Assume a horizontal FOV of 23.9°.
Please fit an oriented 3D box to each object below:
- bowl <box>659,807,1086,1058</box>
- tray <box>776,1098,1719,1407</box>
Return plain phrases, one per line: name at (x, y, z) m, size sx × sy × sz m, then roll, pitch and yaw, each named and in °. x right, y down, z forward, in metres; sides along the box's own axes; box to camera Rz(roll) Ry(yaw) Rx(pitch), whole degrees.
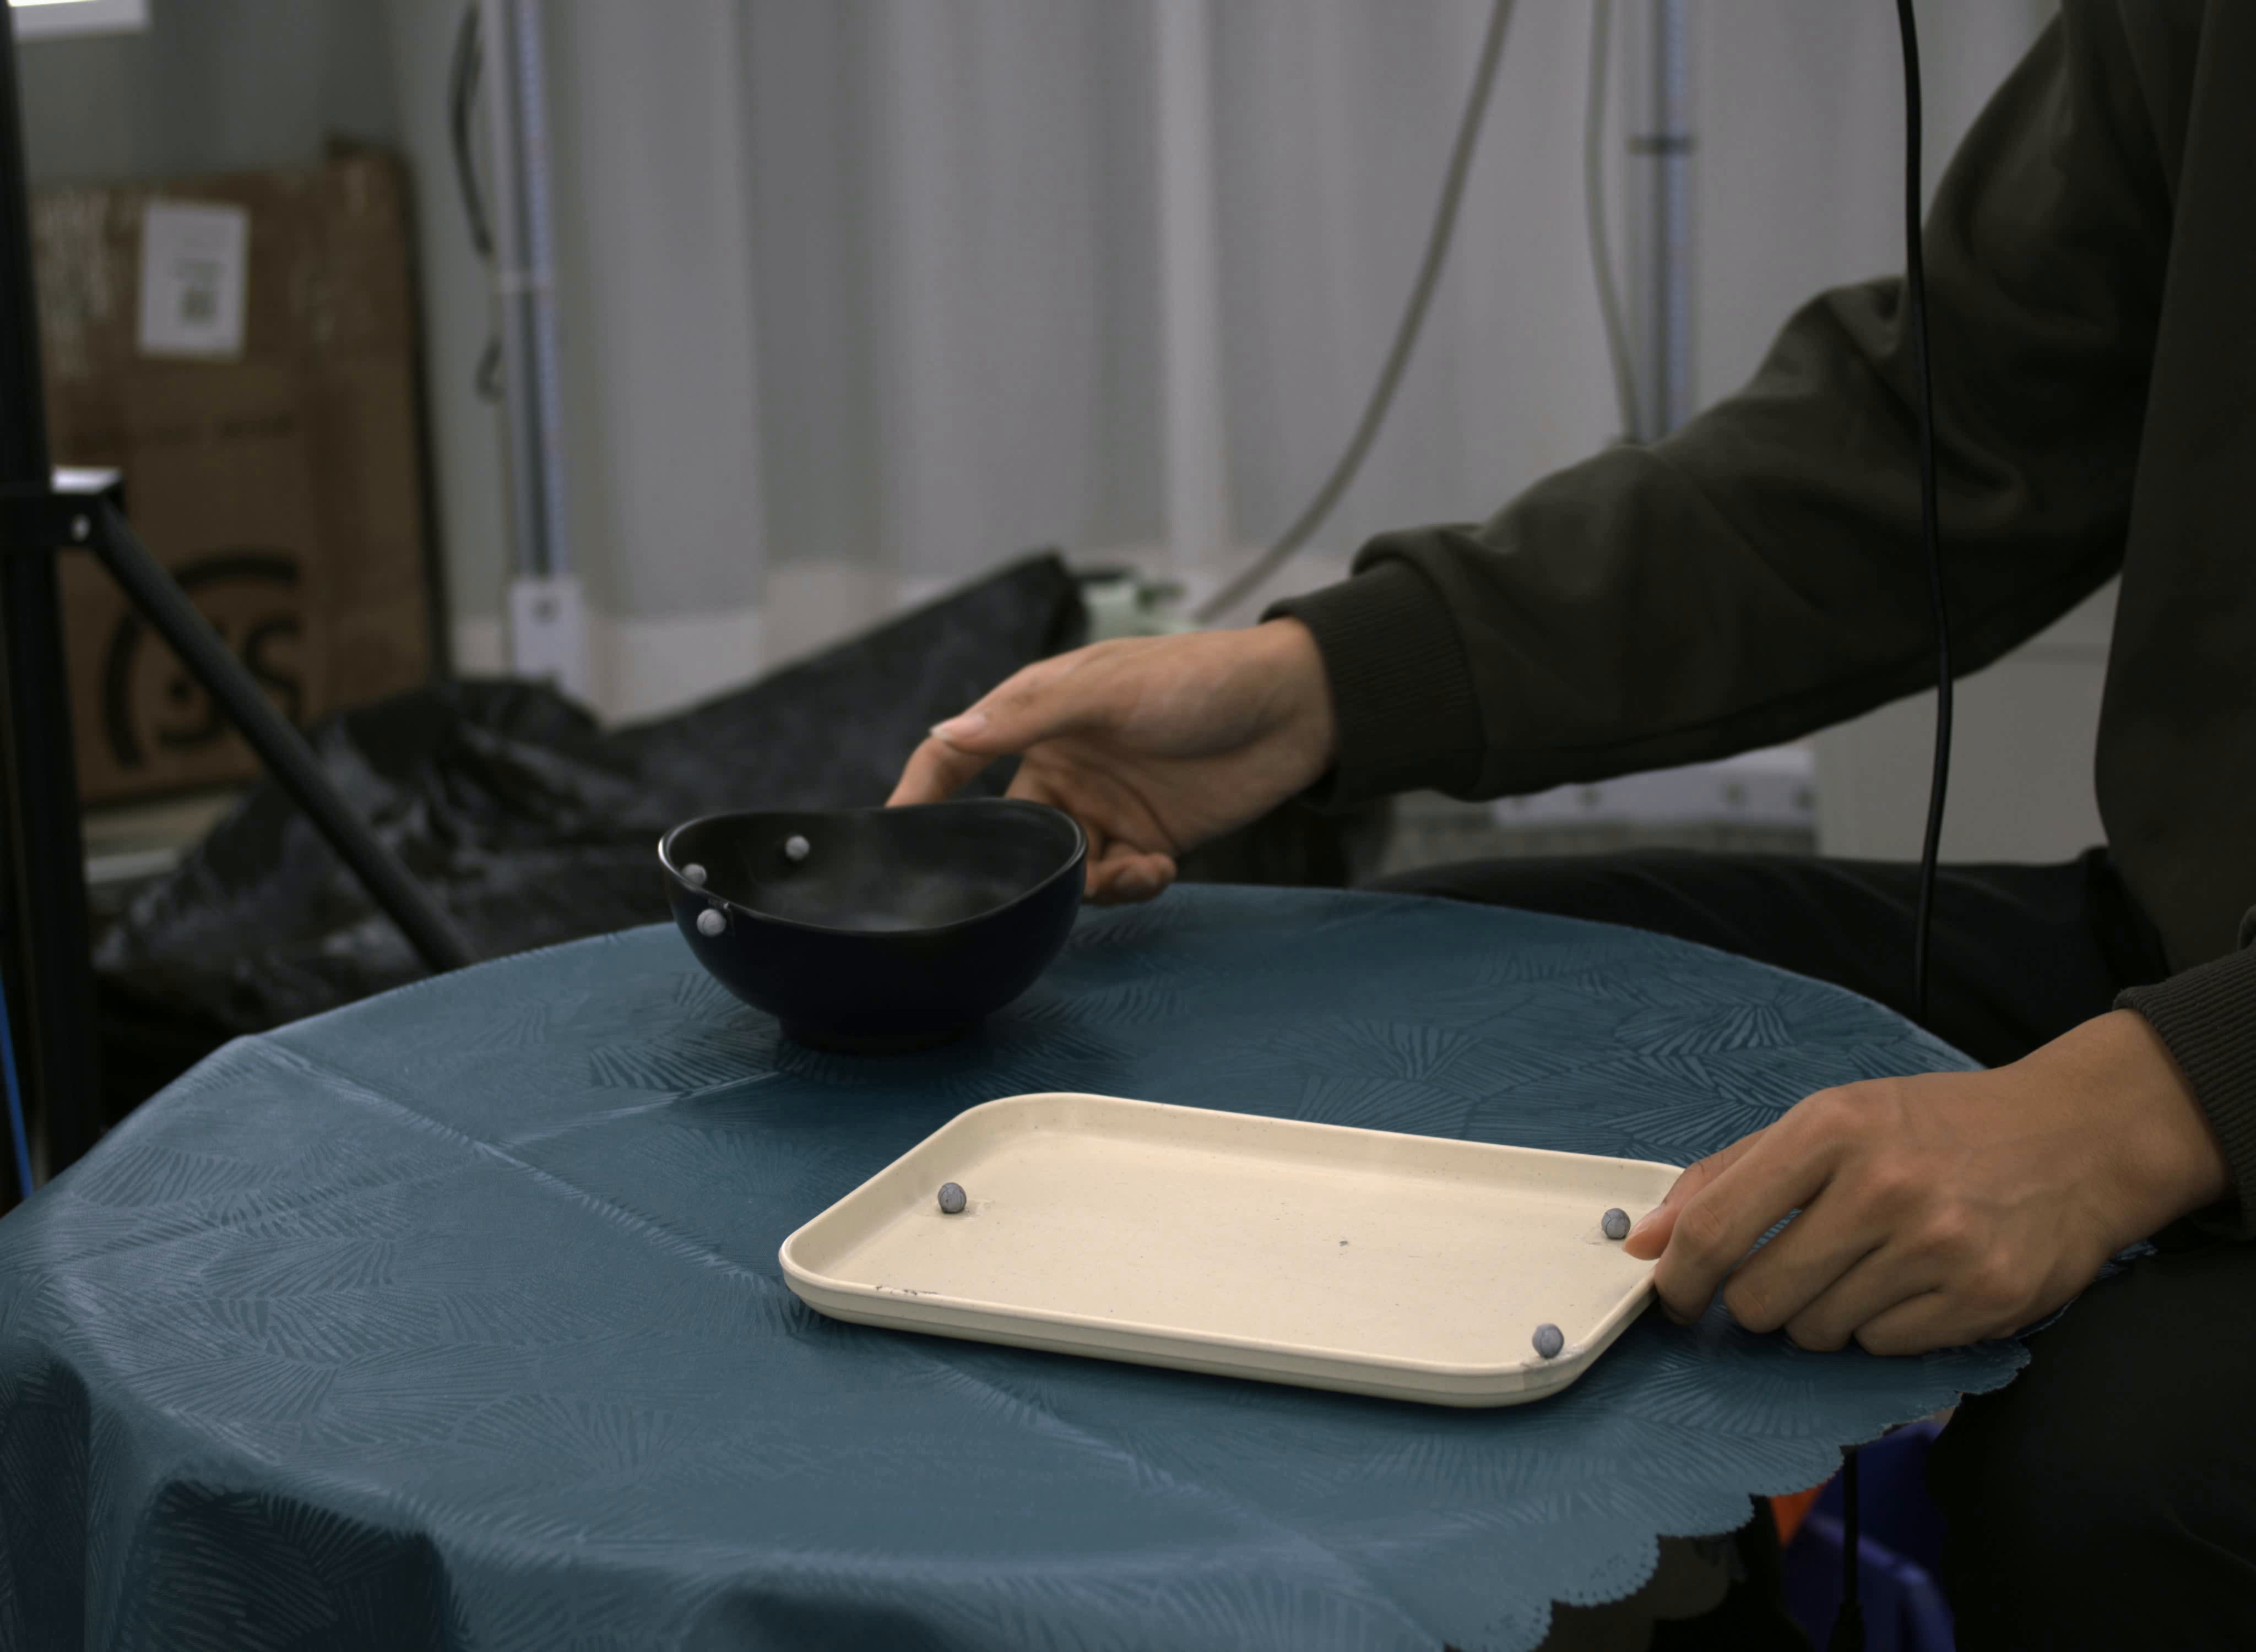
bowl at (-0.082, 0.035, 1.715) m, size 0.136 × 0.067 × 0.172 m, roll -3°, pitch 14°, yaw -6°
tray at (0.035, 0.119, 1.486) m, size 0.243 × 0.017 × 0.168 m, roll 5°, pitch 17°, yaw 25°
